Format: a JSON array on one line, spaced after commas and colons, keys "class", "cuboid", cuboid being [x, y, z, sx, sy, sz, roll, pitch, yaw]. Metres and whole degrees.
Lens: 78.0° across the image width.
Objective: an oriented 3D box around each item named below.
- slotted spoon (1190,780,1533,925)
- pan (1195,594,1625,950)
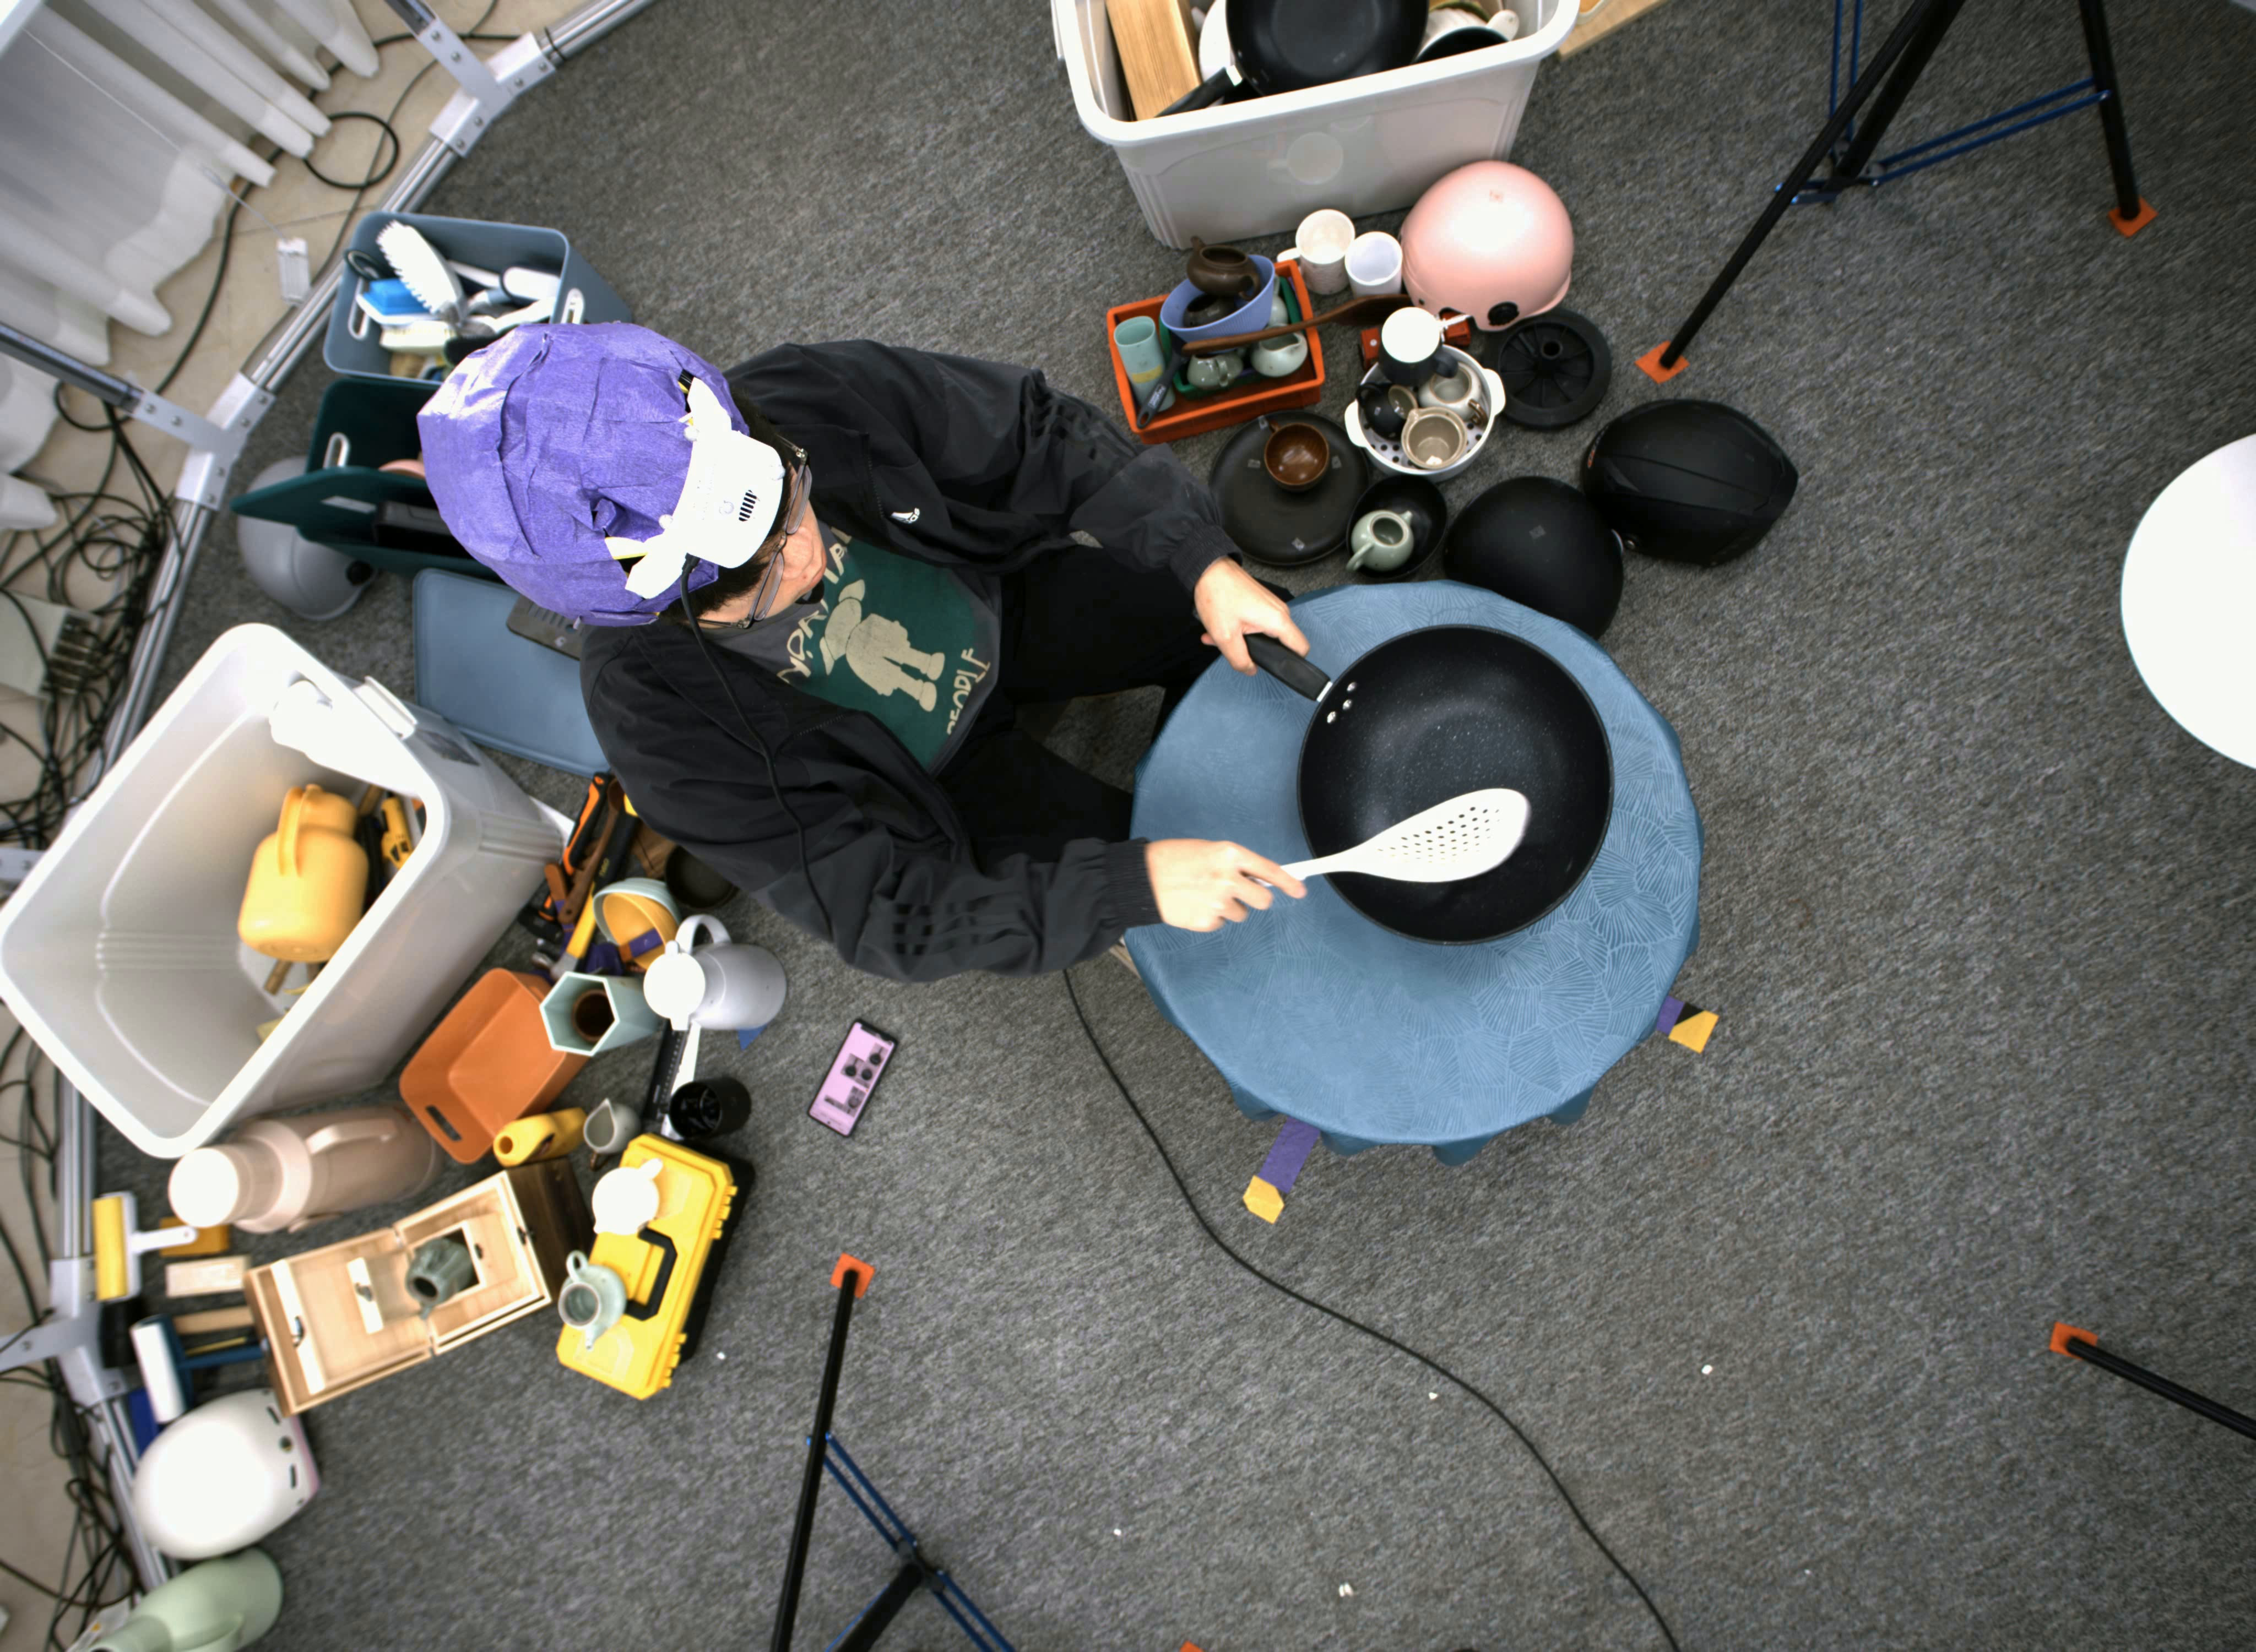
[{"class": "slotted spoon", "cuboid": [0.224, 0.039, 1.317, 0.348, 0.140, 0.049, -12, 58, 0]}, {"class": "pan", "cuboid": [0.266, -0.087, 1.367, 0.473, 0.111, 0.315, 40, 109, 20]}]
